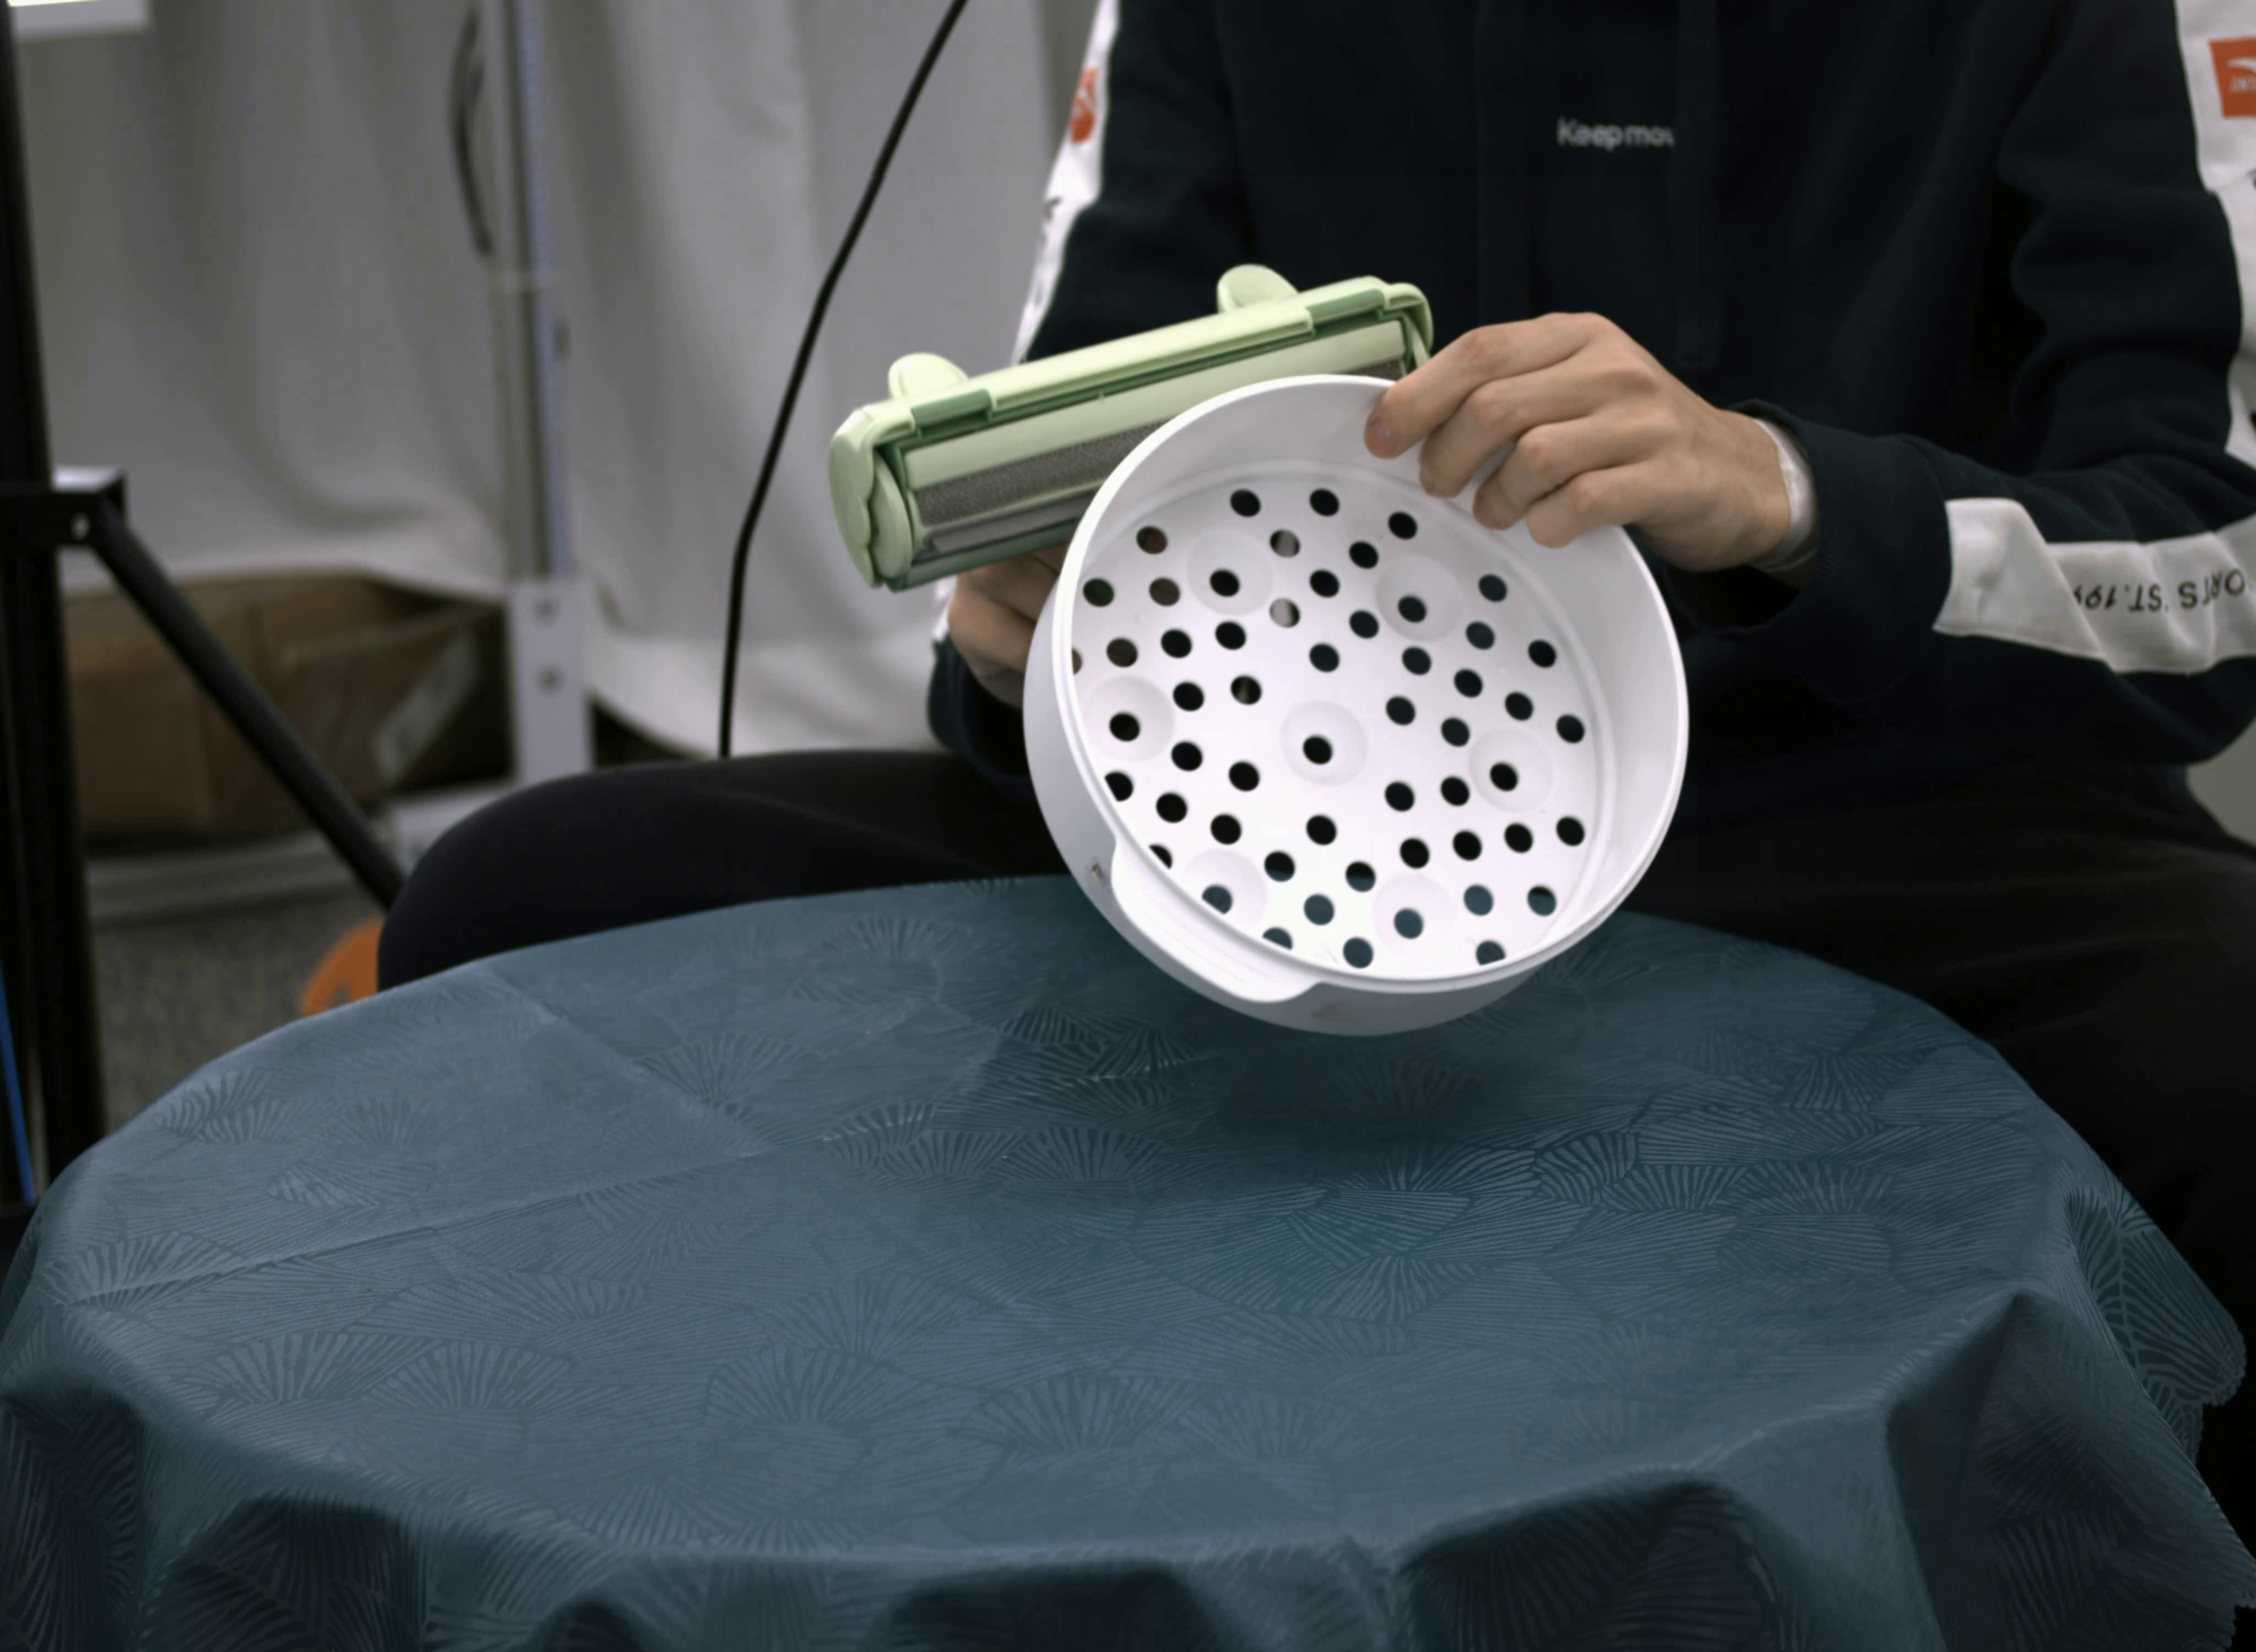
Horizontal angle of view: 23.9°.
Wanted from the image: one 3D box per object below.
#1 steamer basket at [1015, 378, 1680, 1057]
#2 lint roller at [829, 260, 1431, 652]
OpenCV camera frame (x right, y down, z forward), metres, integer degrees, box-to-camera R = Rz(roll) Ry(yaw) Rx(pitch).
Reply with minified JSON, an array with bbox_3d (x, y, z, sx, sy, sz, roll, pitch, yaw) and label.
[{"bbox_3d":[0.064,-0.028,1.618,0.202,0.230,0.069,34,-22,1],"label":"steamer basket"},{"bbox_3d":[-0.013,-0.115,1.736,0.195,0.083,0.184,-16,-14,-18],"label":"lint roller"}]
